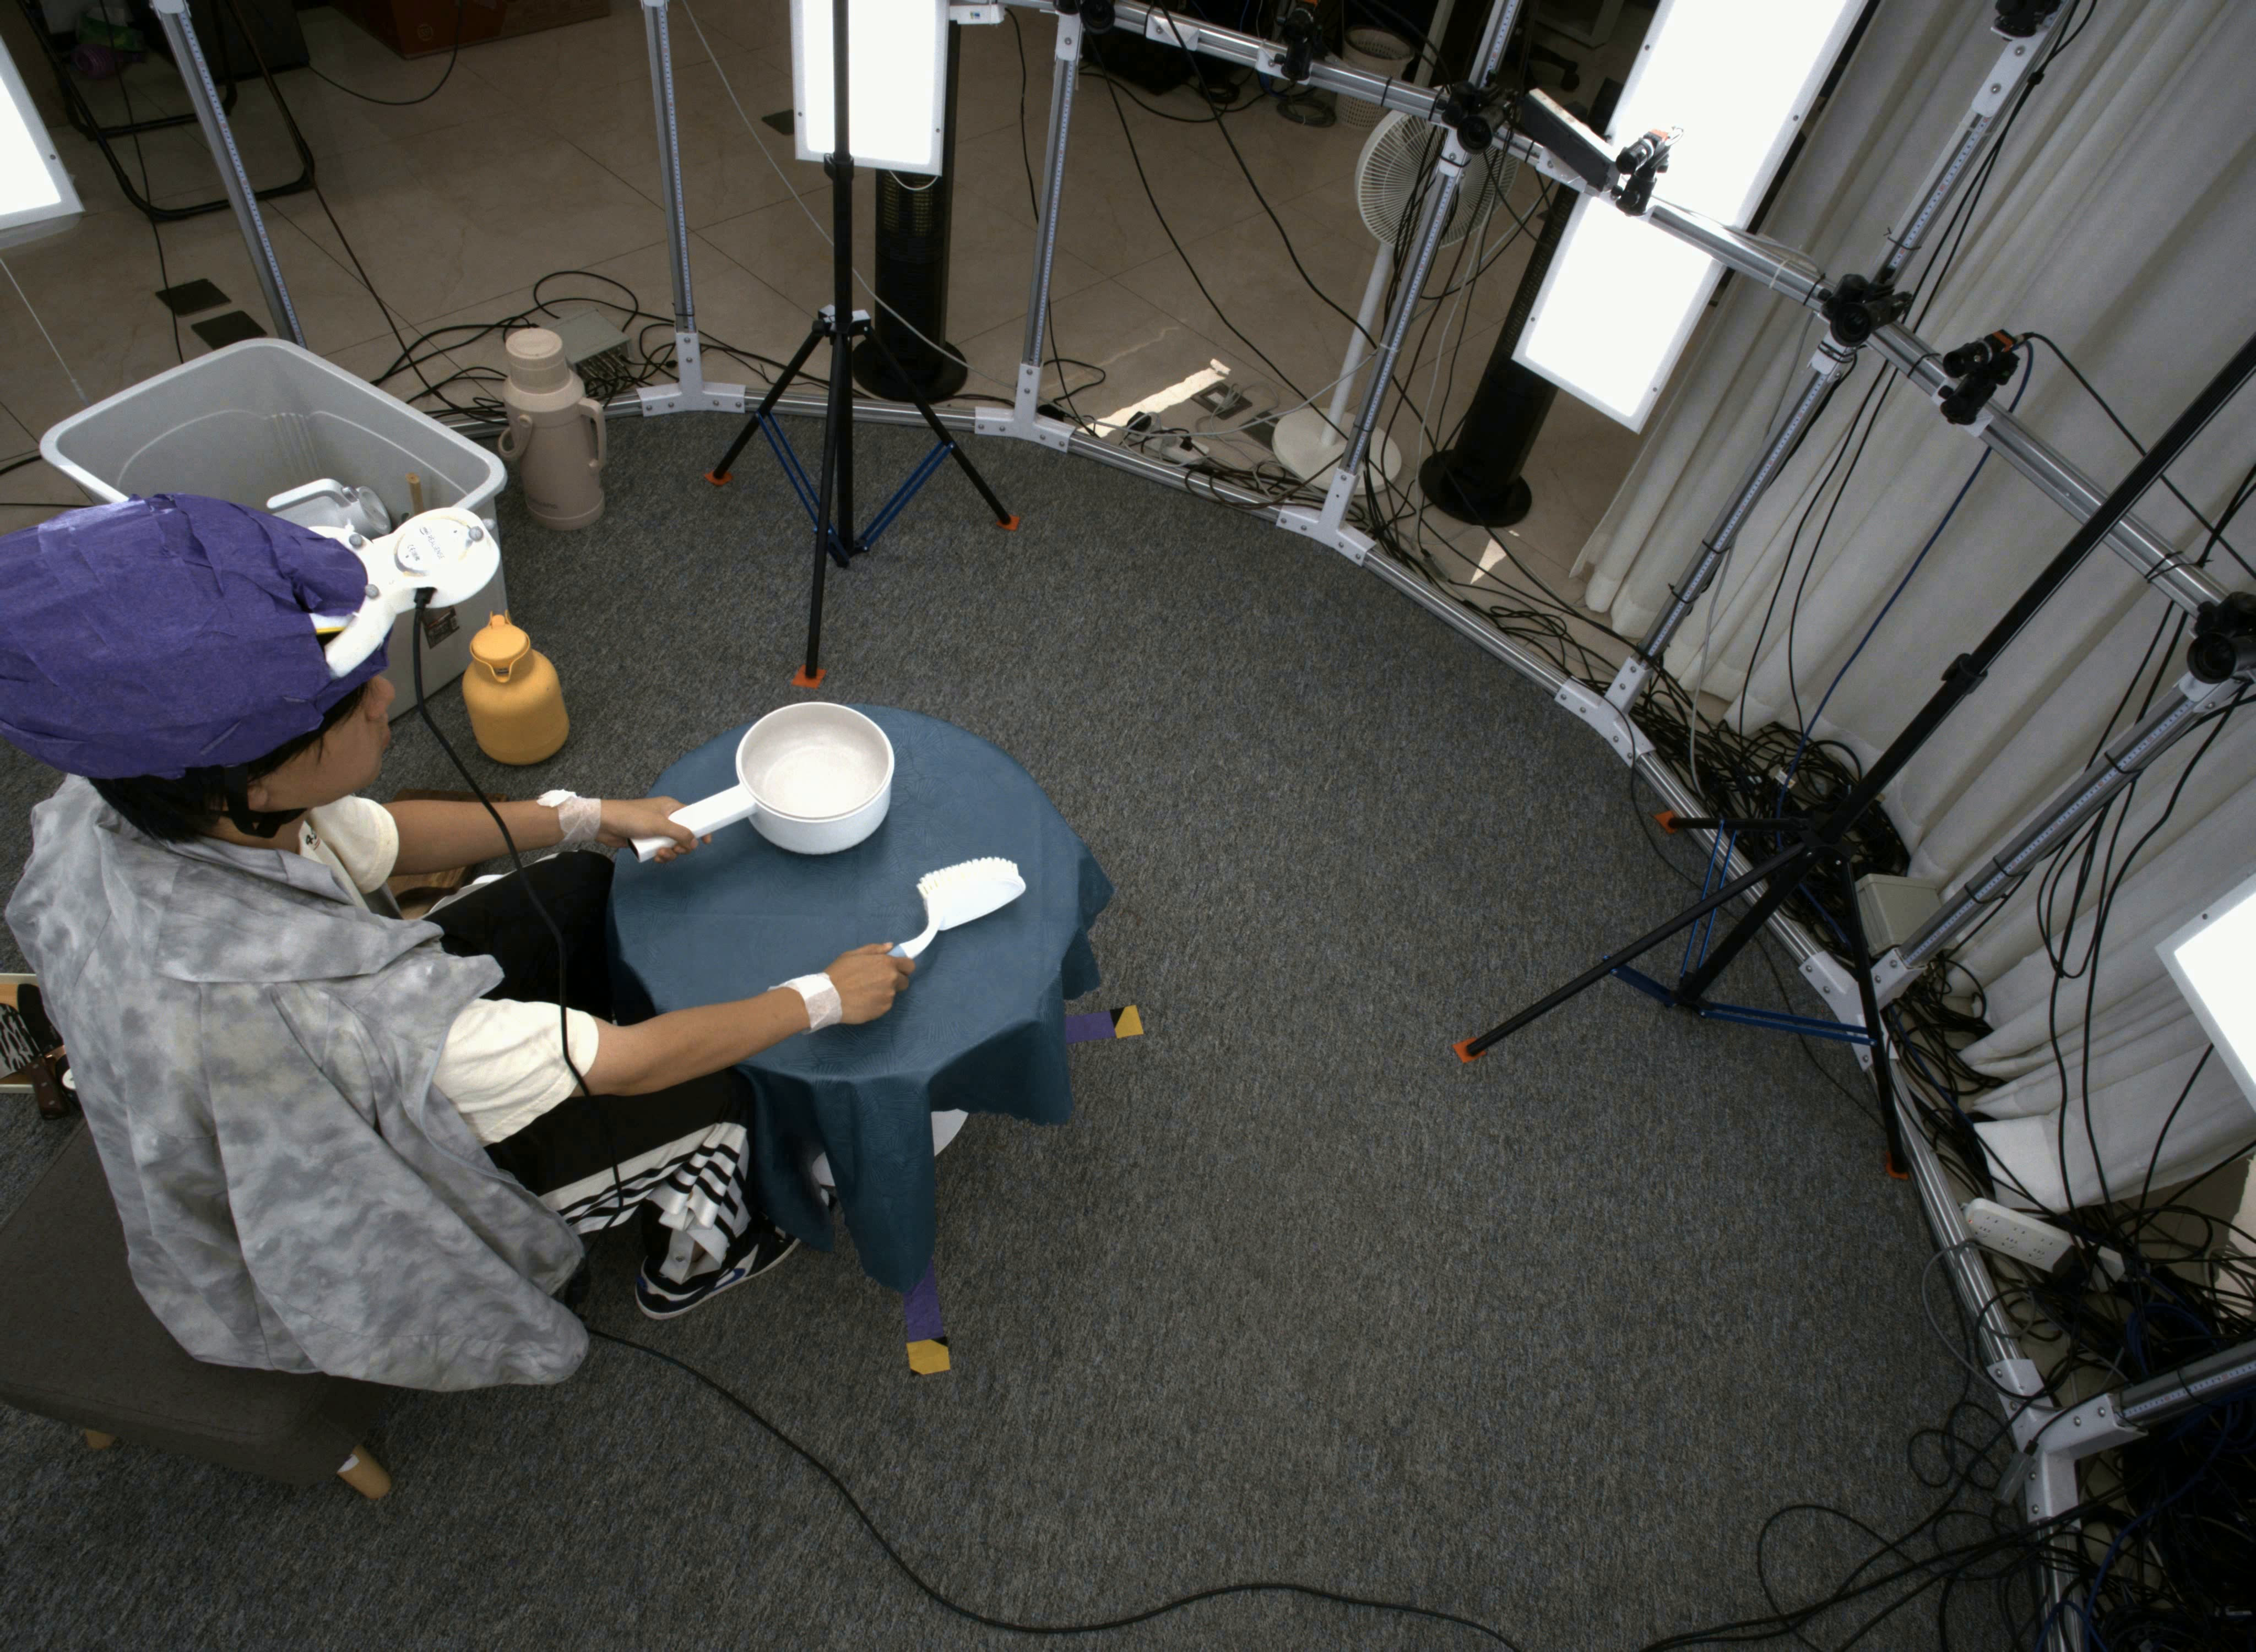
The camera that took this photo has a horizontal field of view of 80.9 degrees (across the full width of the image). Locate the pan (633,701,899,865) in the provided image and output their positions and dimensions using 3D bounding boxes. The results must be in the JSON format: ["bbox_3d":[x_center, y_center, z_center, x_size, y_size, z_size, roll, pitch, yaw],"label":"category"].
[{"bbox_3d":[-0.463,-0.025,1.672,0.356,0.104,0.196,-29,65,-29],"label":"pan"}]

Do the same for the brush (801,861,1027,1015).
[{"bbox_3d":[-0.276,0.125,1.626,0.326,0.083,0.085,-29,100,-25],"label":"brush"}]
